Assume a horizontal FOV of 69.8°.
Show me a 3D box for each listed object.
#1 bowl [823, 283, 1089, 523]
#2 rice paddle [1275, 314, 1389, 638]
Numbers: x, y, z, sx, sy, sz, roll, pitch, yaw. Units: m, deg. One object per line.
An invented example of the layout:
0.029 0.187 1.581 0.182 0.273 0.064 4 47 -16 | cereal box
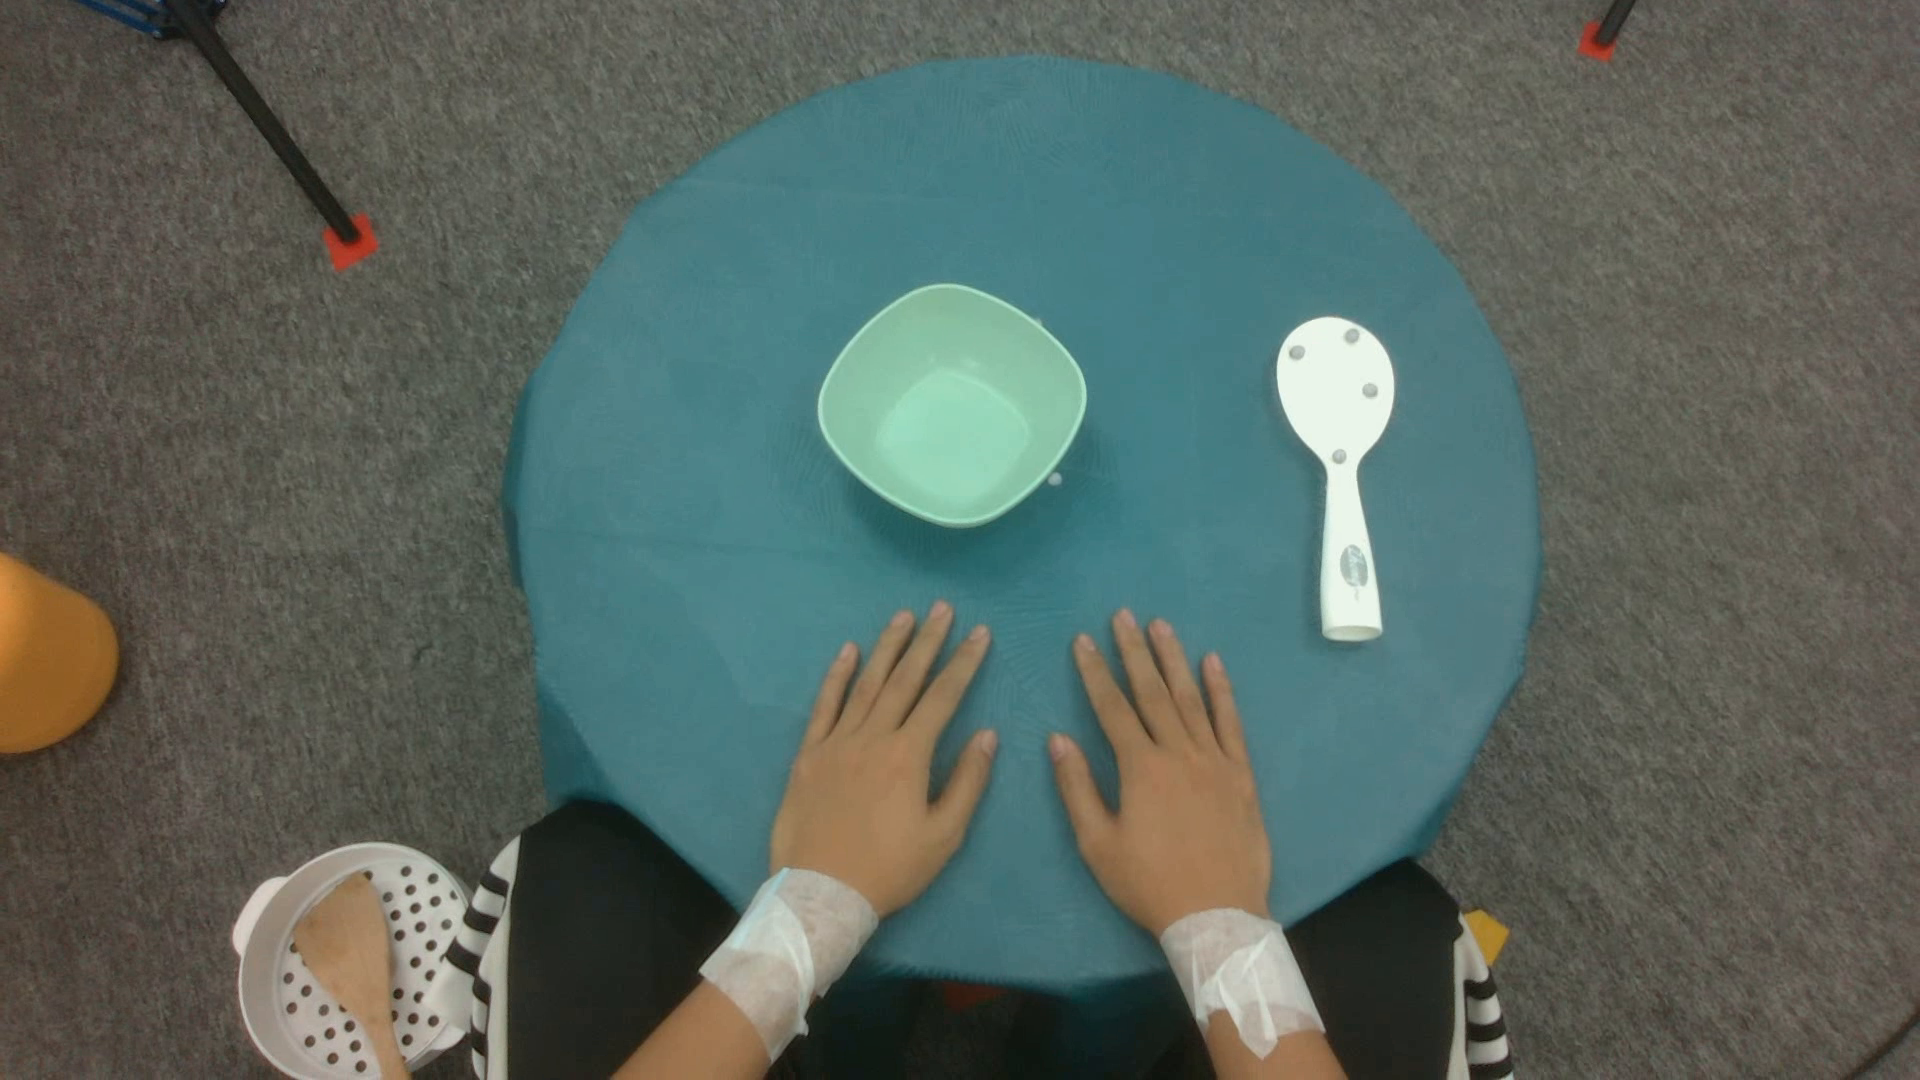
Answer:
-0.002 -0.071 0.803 0.151 0.058 0.152 1 67 -2 | bowl
0.222 -0.045 0.806 0.069 0.029 0.206 2 68 0 | rice paddle
